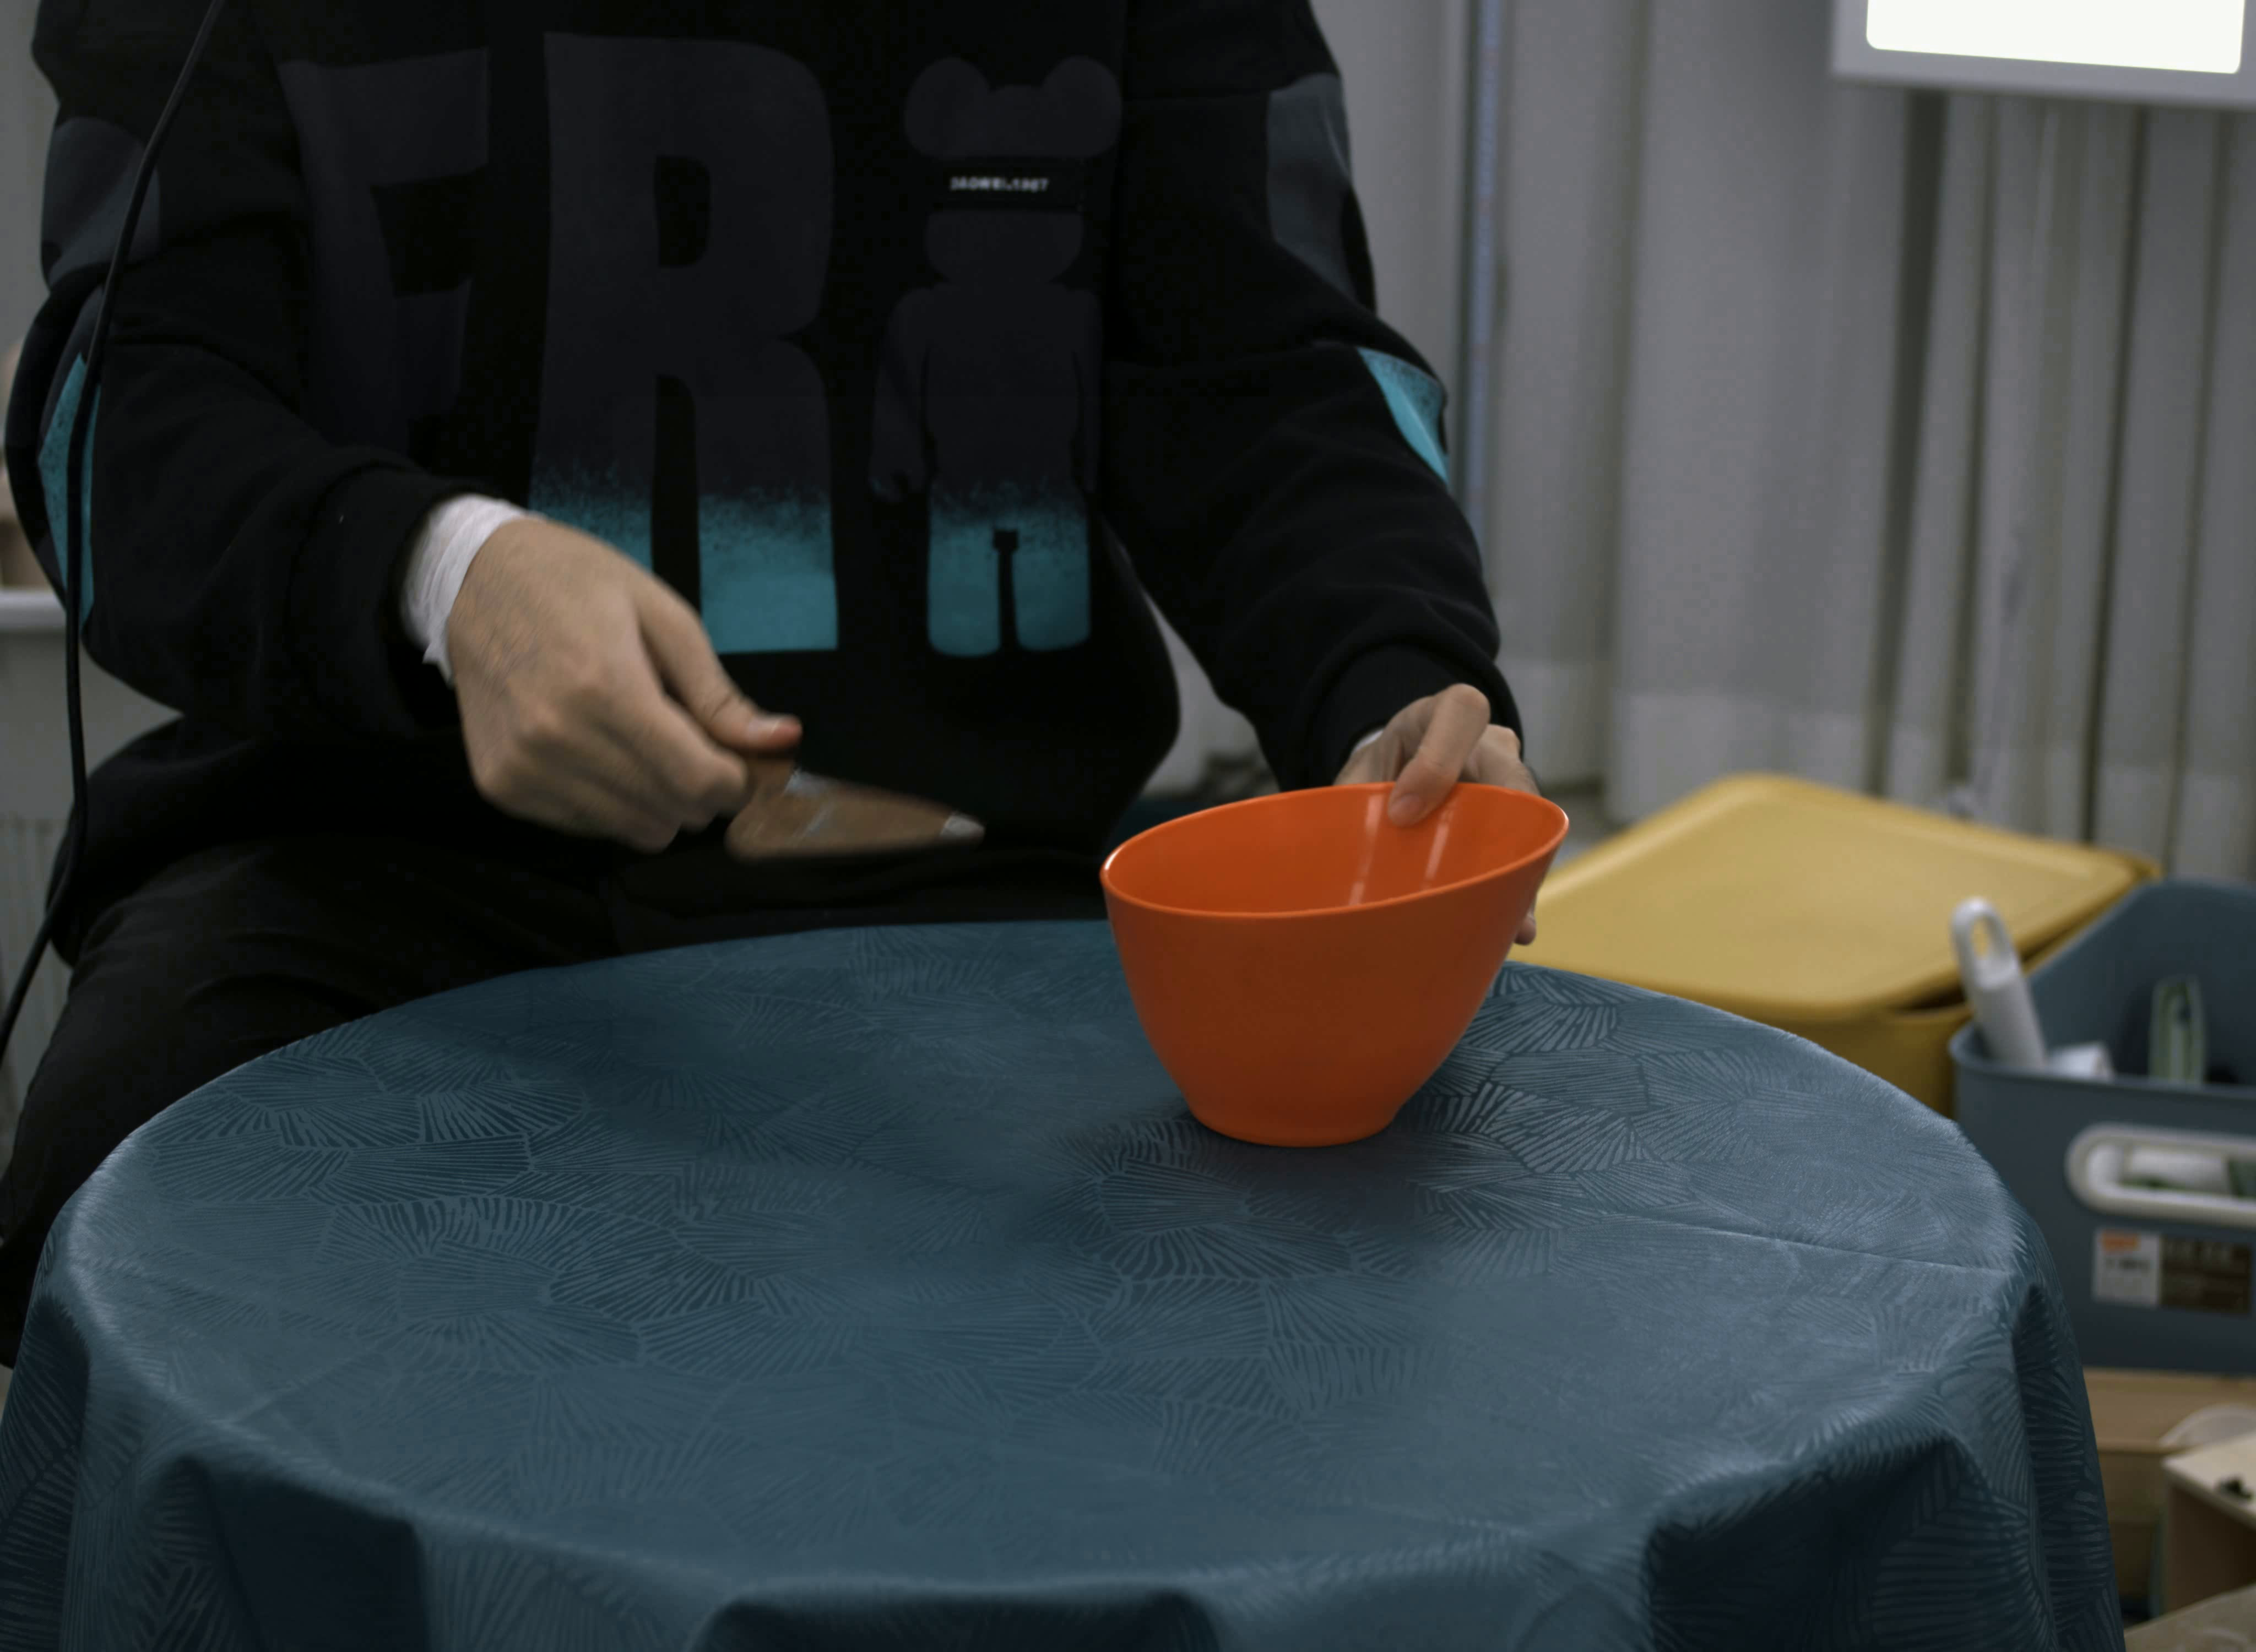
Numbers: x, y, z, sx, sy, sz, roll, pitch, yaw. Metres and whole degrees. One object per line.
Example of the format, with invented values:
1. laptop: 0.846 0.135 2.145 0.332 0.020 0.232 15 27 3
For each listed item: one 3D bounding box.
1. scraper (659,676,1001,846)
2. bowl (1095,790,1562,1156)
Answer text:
1. scraper: -0.107 -0.021 1.659 0.076 0.011 0.209 -5 17 -21
2. bowl: 0.062 0.047 1.672 0.147 0.105 0.147 0 19 0
